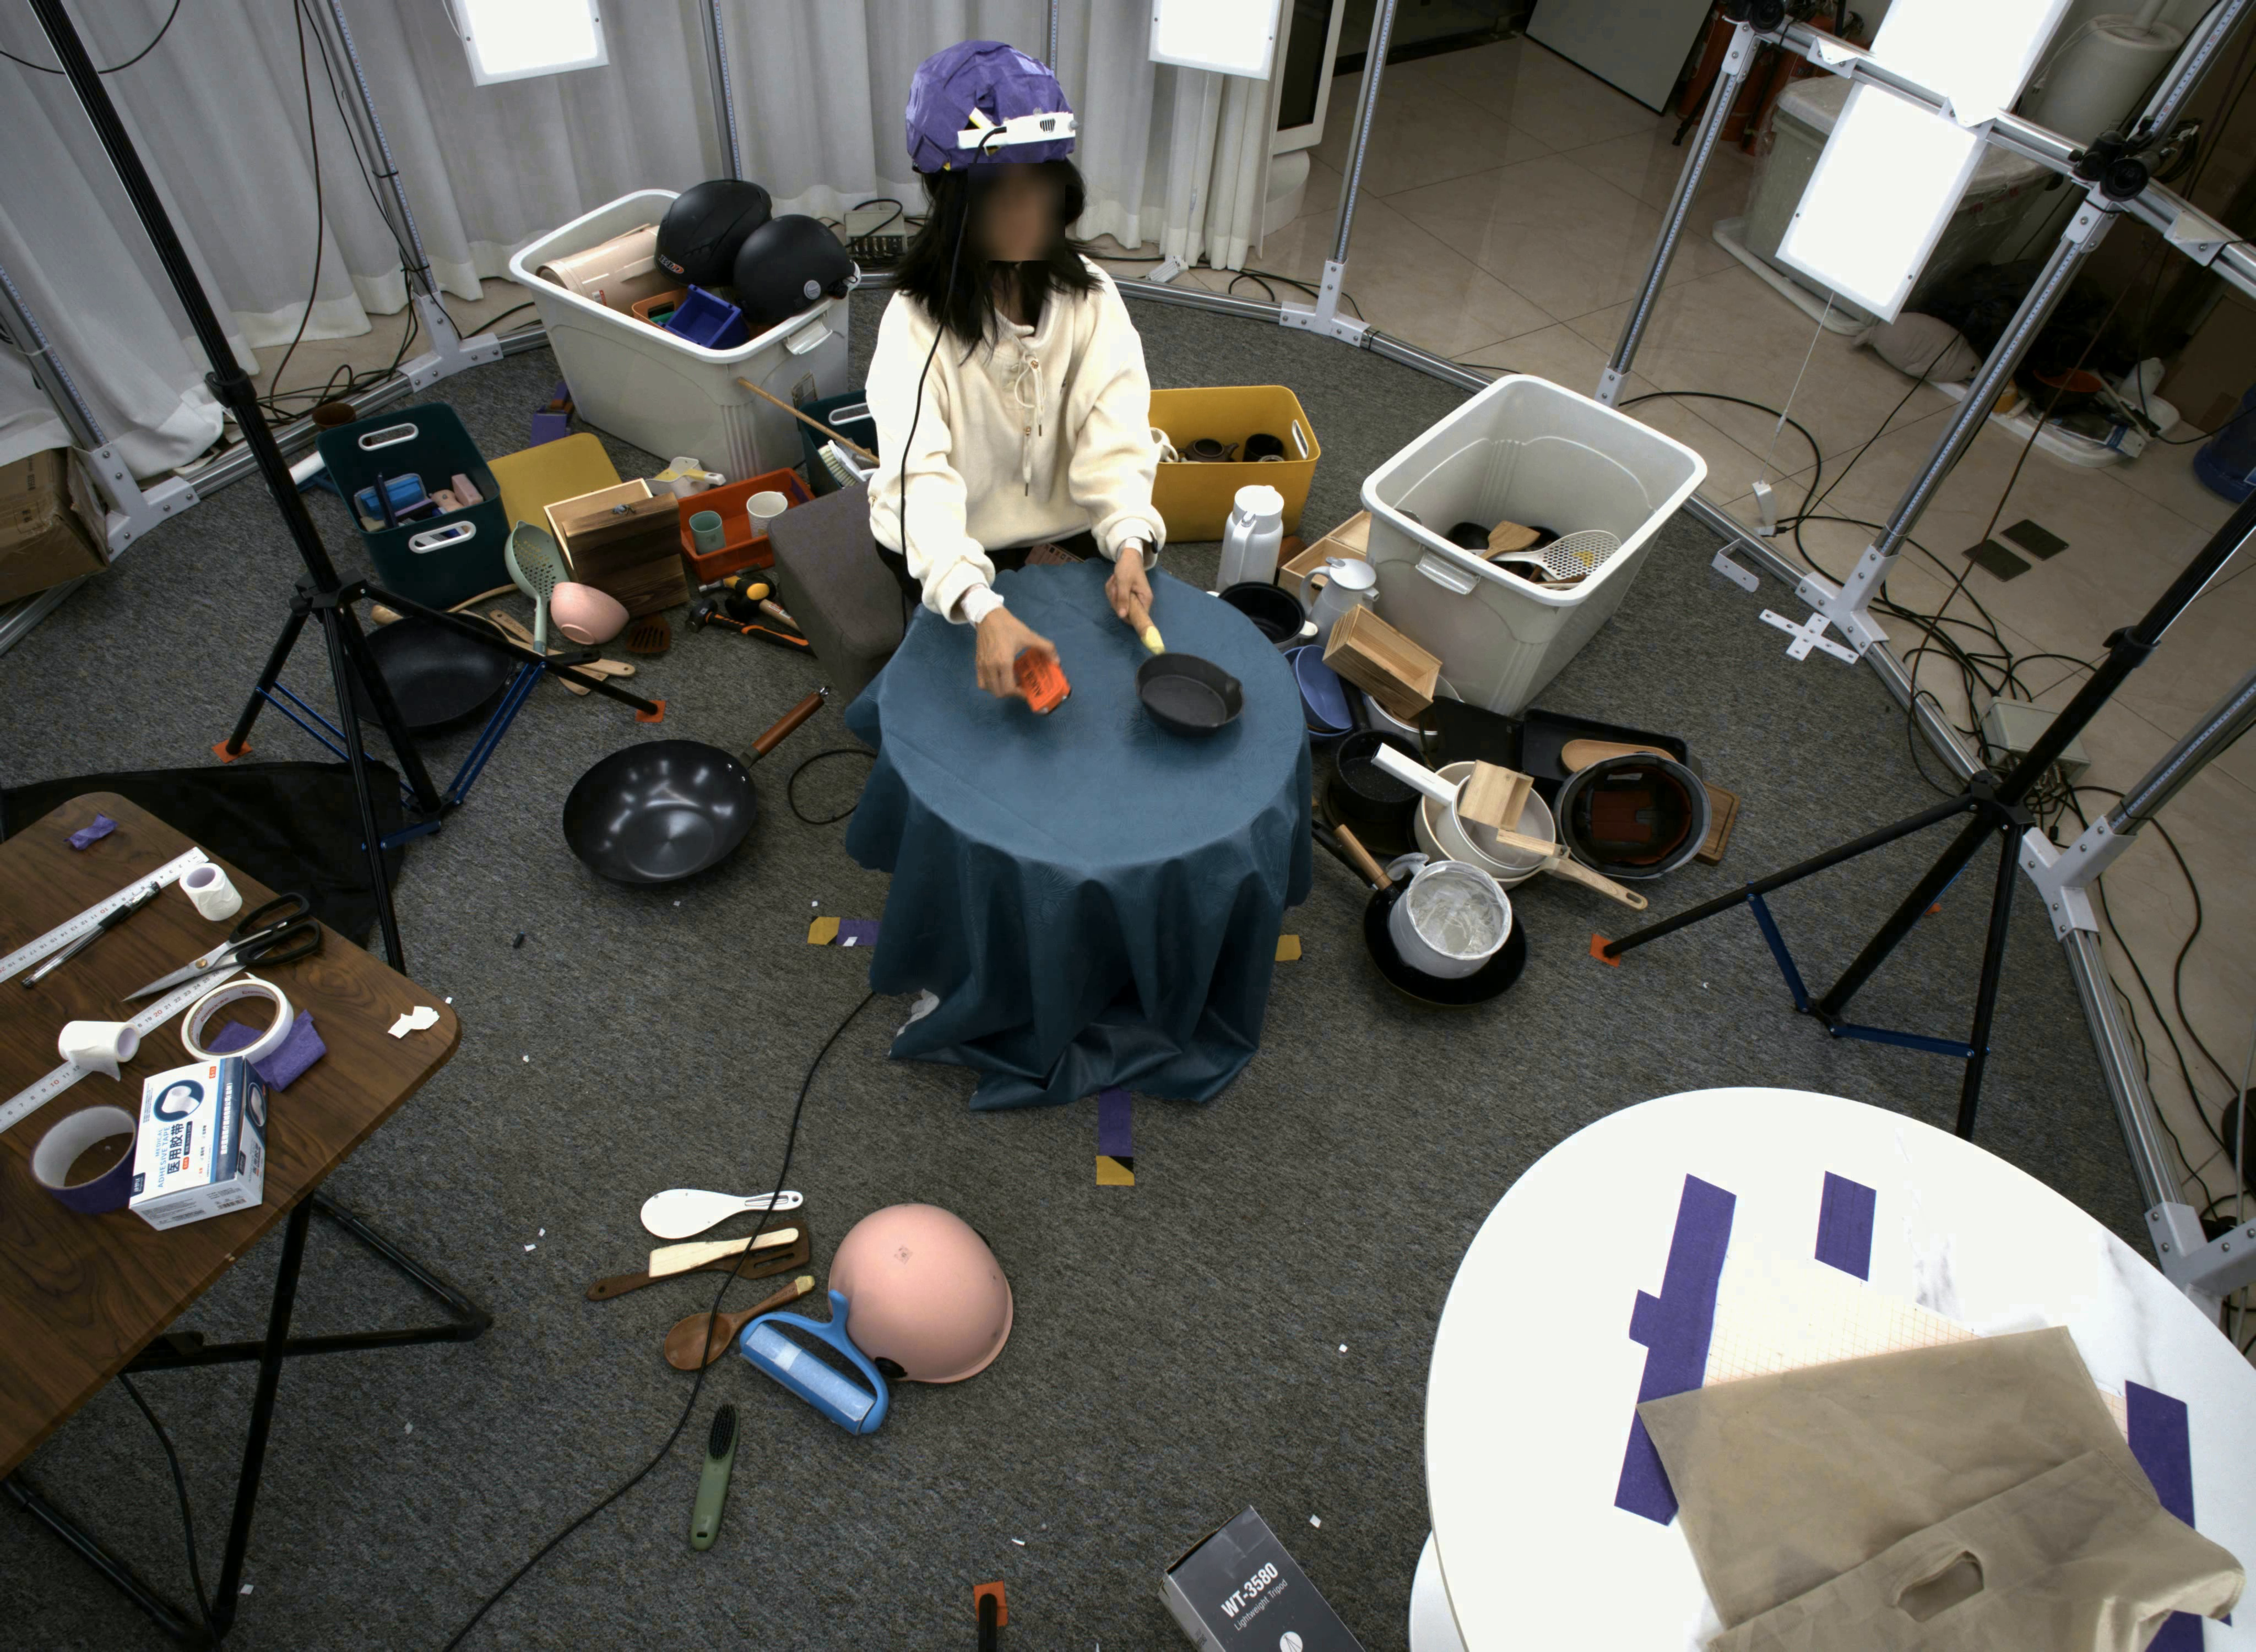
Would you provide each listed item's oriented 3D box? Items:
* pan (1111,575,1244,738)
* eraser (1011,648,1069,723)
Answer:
[{"bbox_3d":[0.049,-0.244,1.842,0.169,0.048,0.331,-10,50,-24],"label":"pan"},{"bbox_3d":[-0.122,-0.195,1.768,0.058,0.022,0.110,-38,47,13],"label":"eraser"}]
